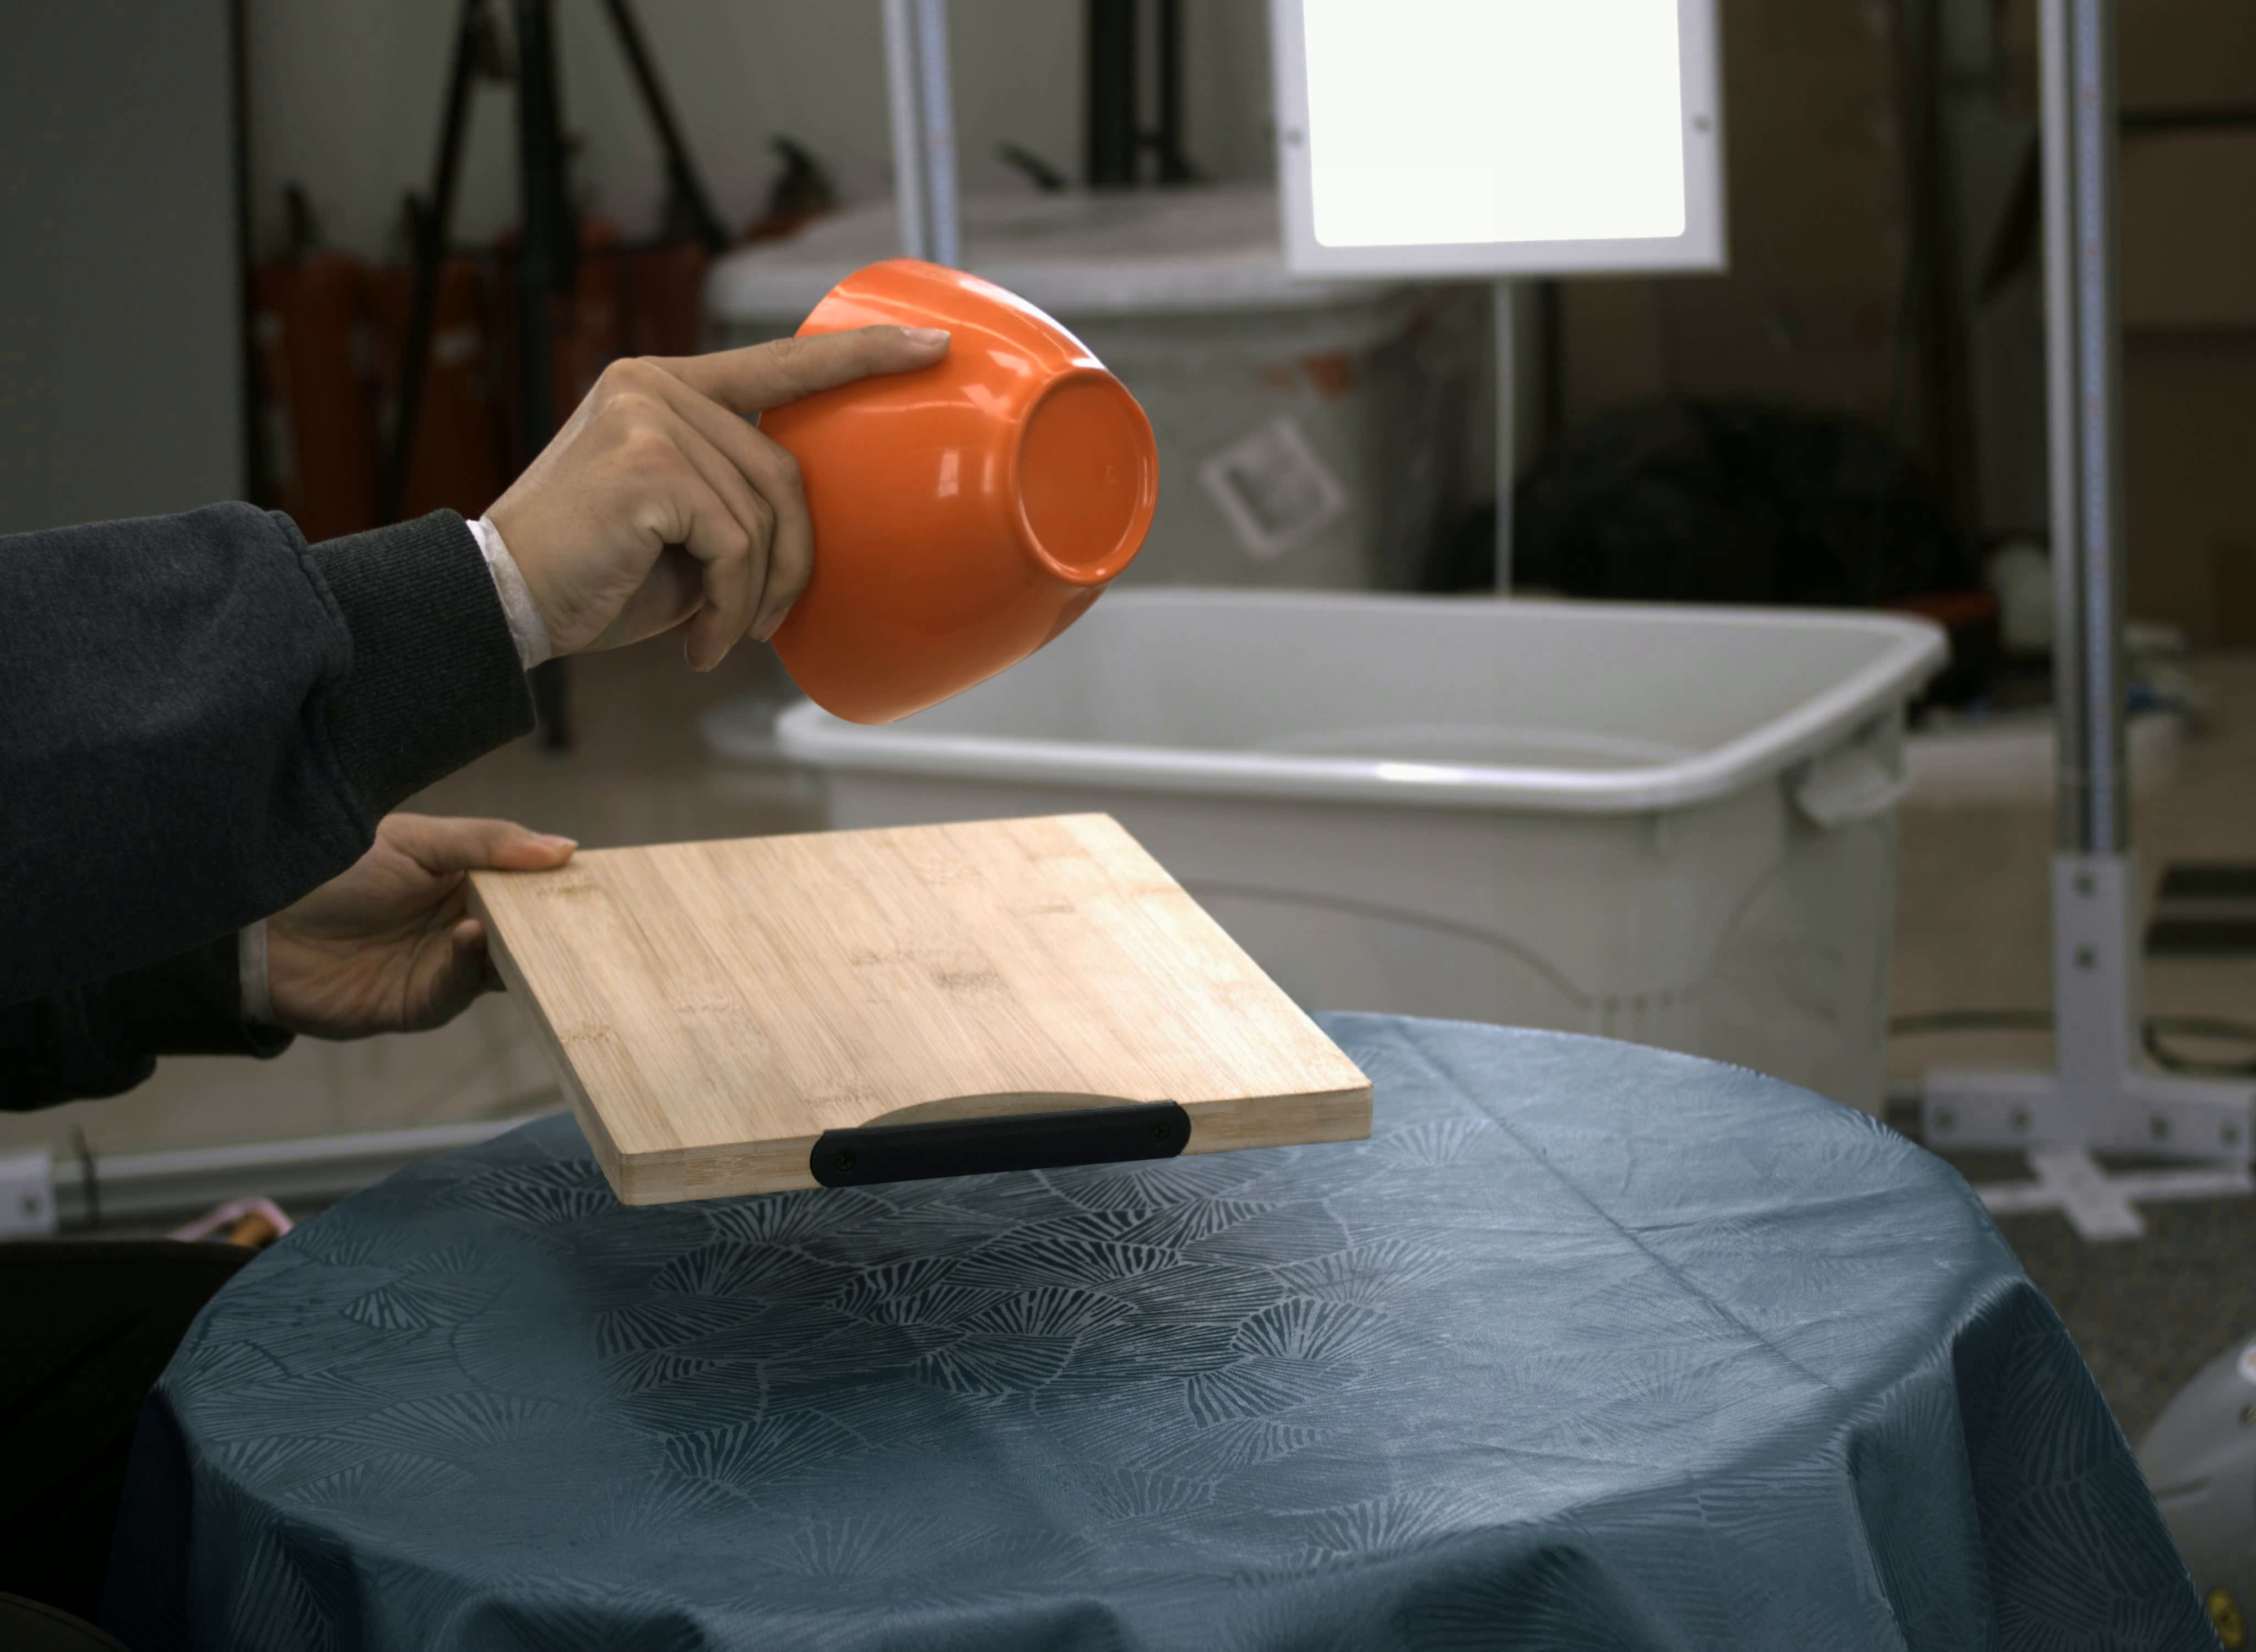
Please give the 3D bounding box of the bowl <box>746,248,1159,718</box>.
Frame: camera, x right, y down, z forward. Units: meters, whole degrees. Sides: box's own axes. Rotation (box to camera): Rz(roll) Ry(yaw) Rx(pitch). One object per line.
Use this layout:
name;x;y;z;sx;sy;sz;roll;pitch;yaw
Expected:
bowl;-0.043;-0.105;1.699;0.107;0.148;0.144;6;17;44

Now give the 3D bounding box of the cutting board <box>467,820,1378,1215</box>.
cutting board;-0.079;0.058;1.842;0.247;0.024;0.351;-6;16;-13
